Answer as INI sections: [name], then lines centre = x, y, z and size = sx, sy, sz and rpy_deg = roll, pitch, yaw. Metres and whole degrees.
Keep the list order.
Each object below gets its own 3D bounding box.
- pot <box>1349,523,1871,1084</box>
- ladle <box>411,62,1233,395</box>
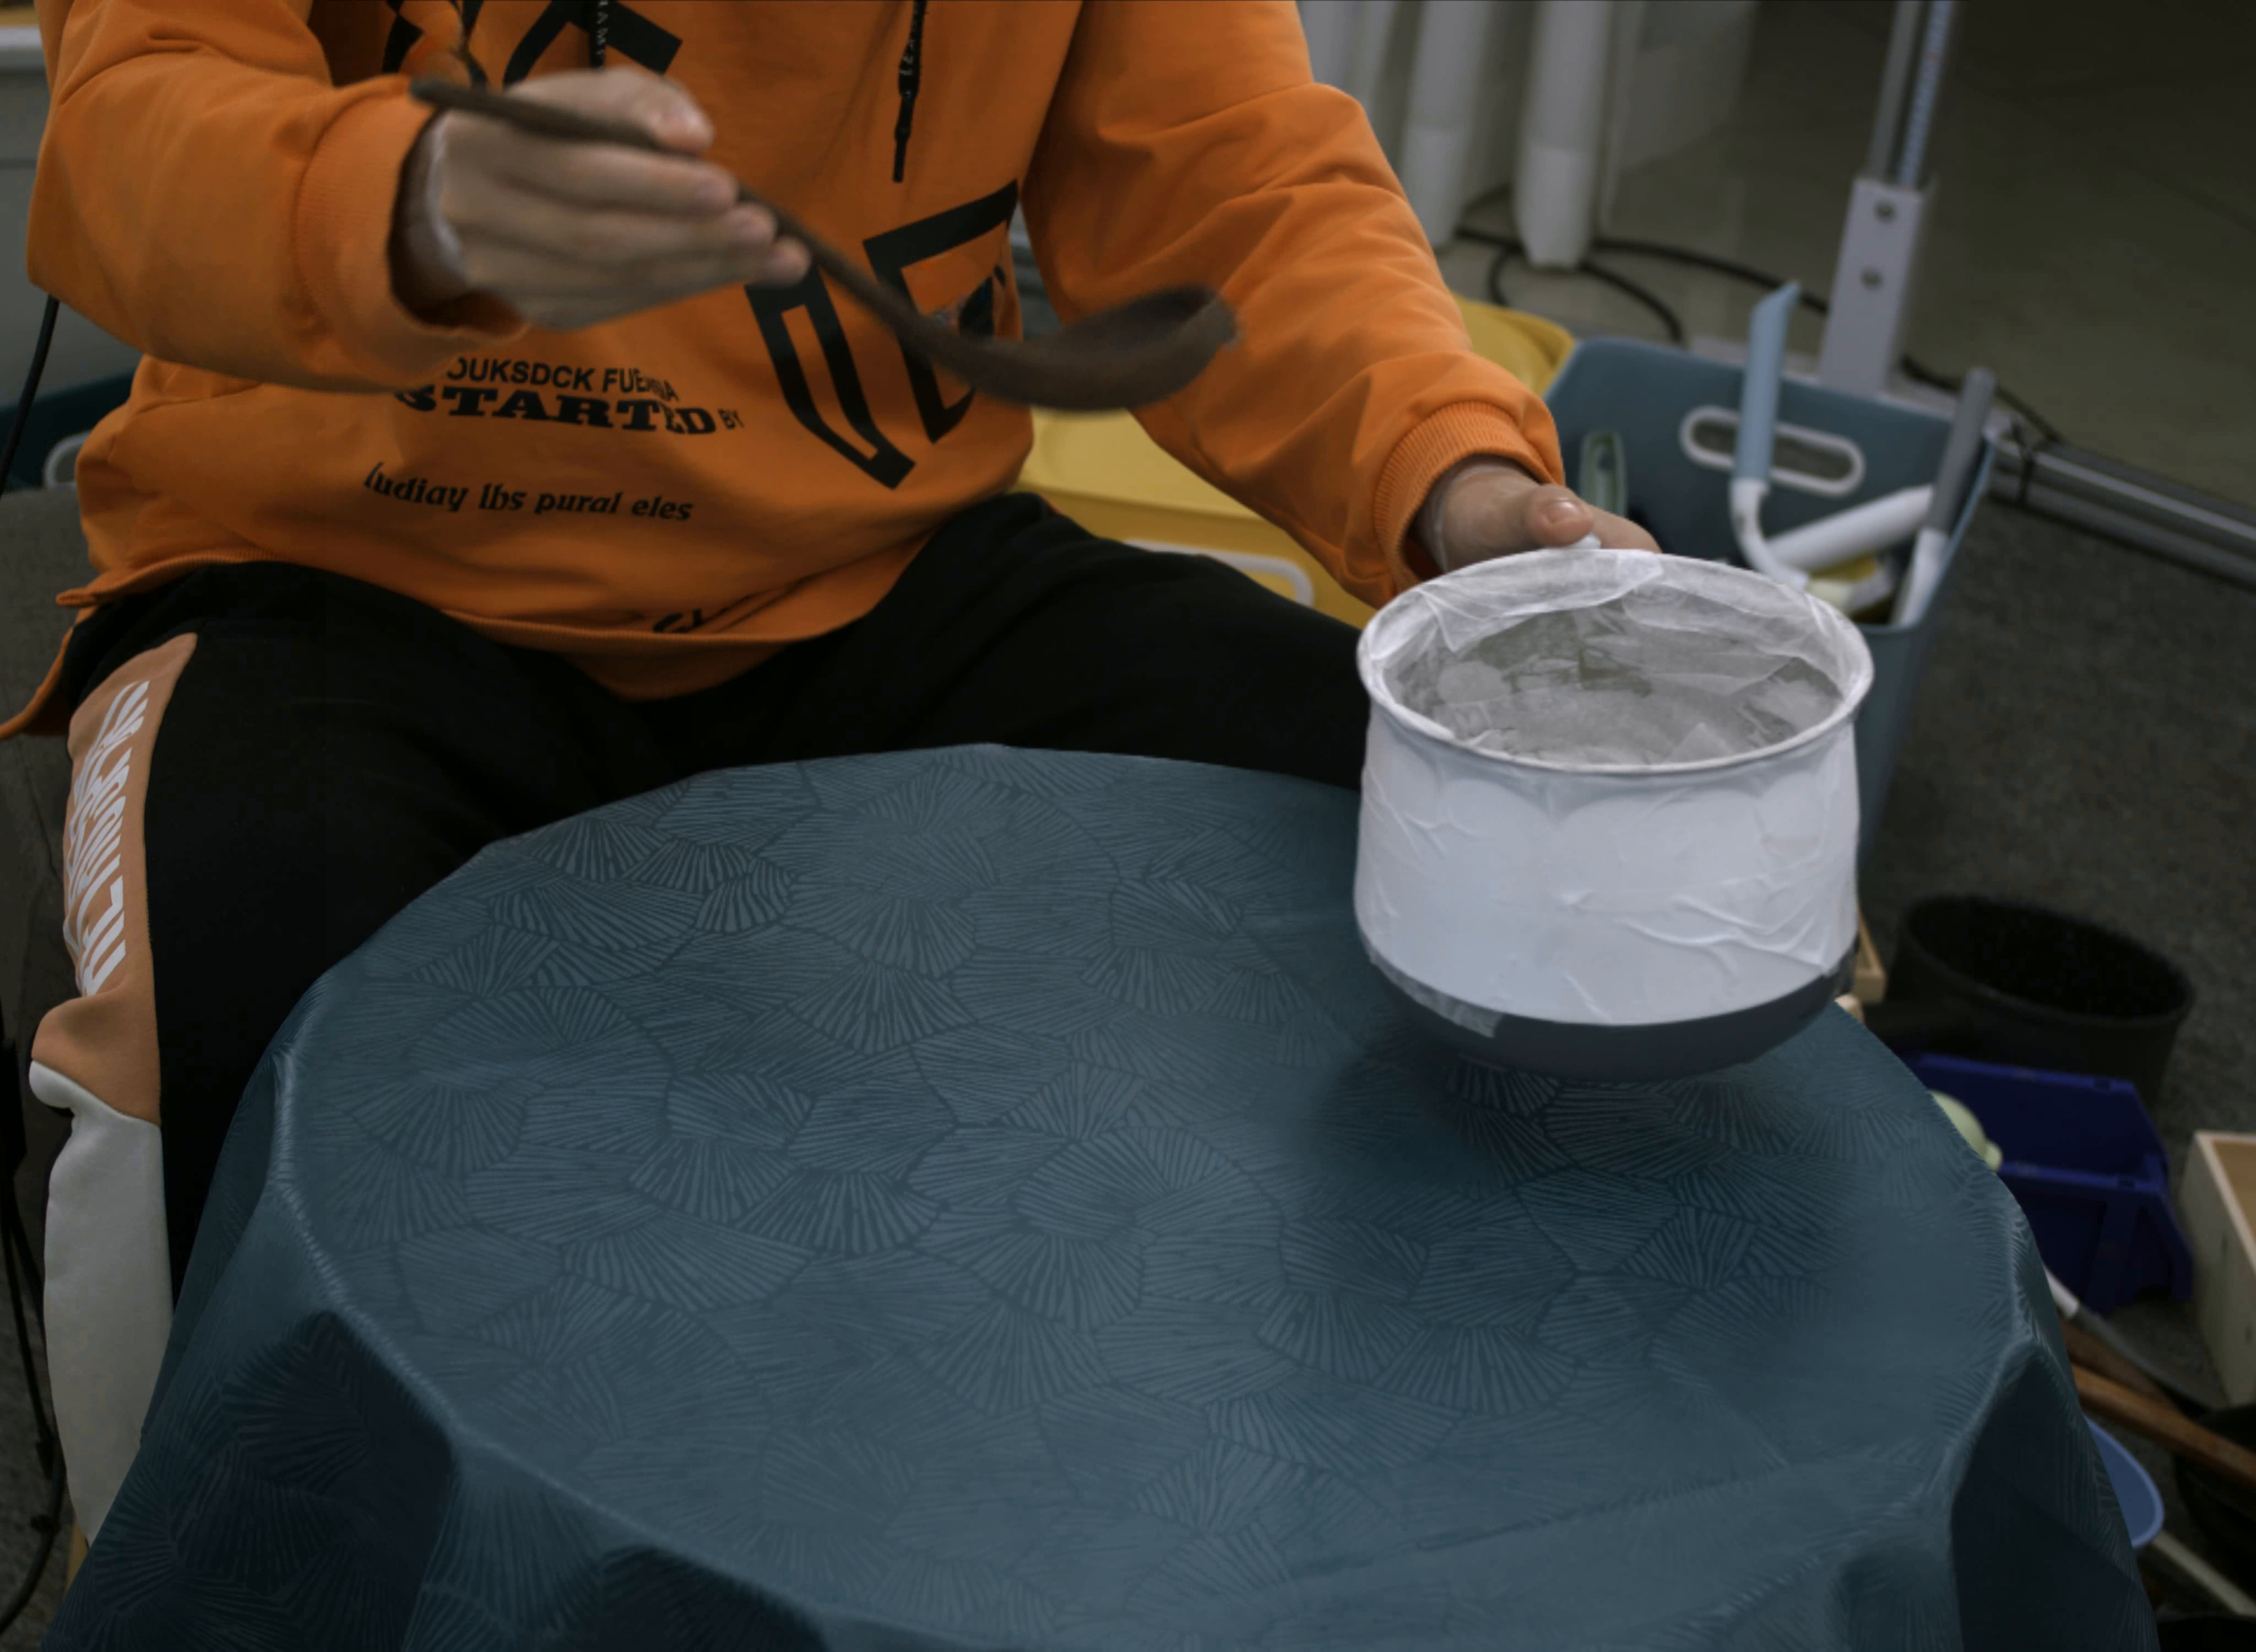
[pot]
centre = 0.163, -0.015, 1.874
size = 0.178, 0.136, 0.235
rpy_deg = -2, 27, -4
[ladle]
centre = -0.092, -0.207, 1.692
size = 0.272, 0.071, 0.076
rpy_deg = 26, -3, -22
